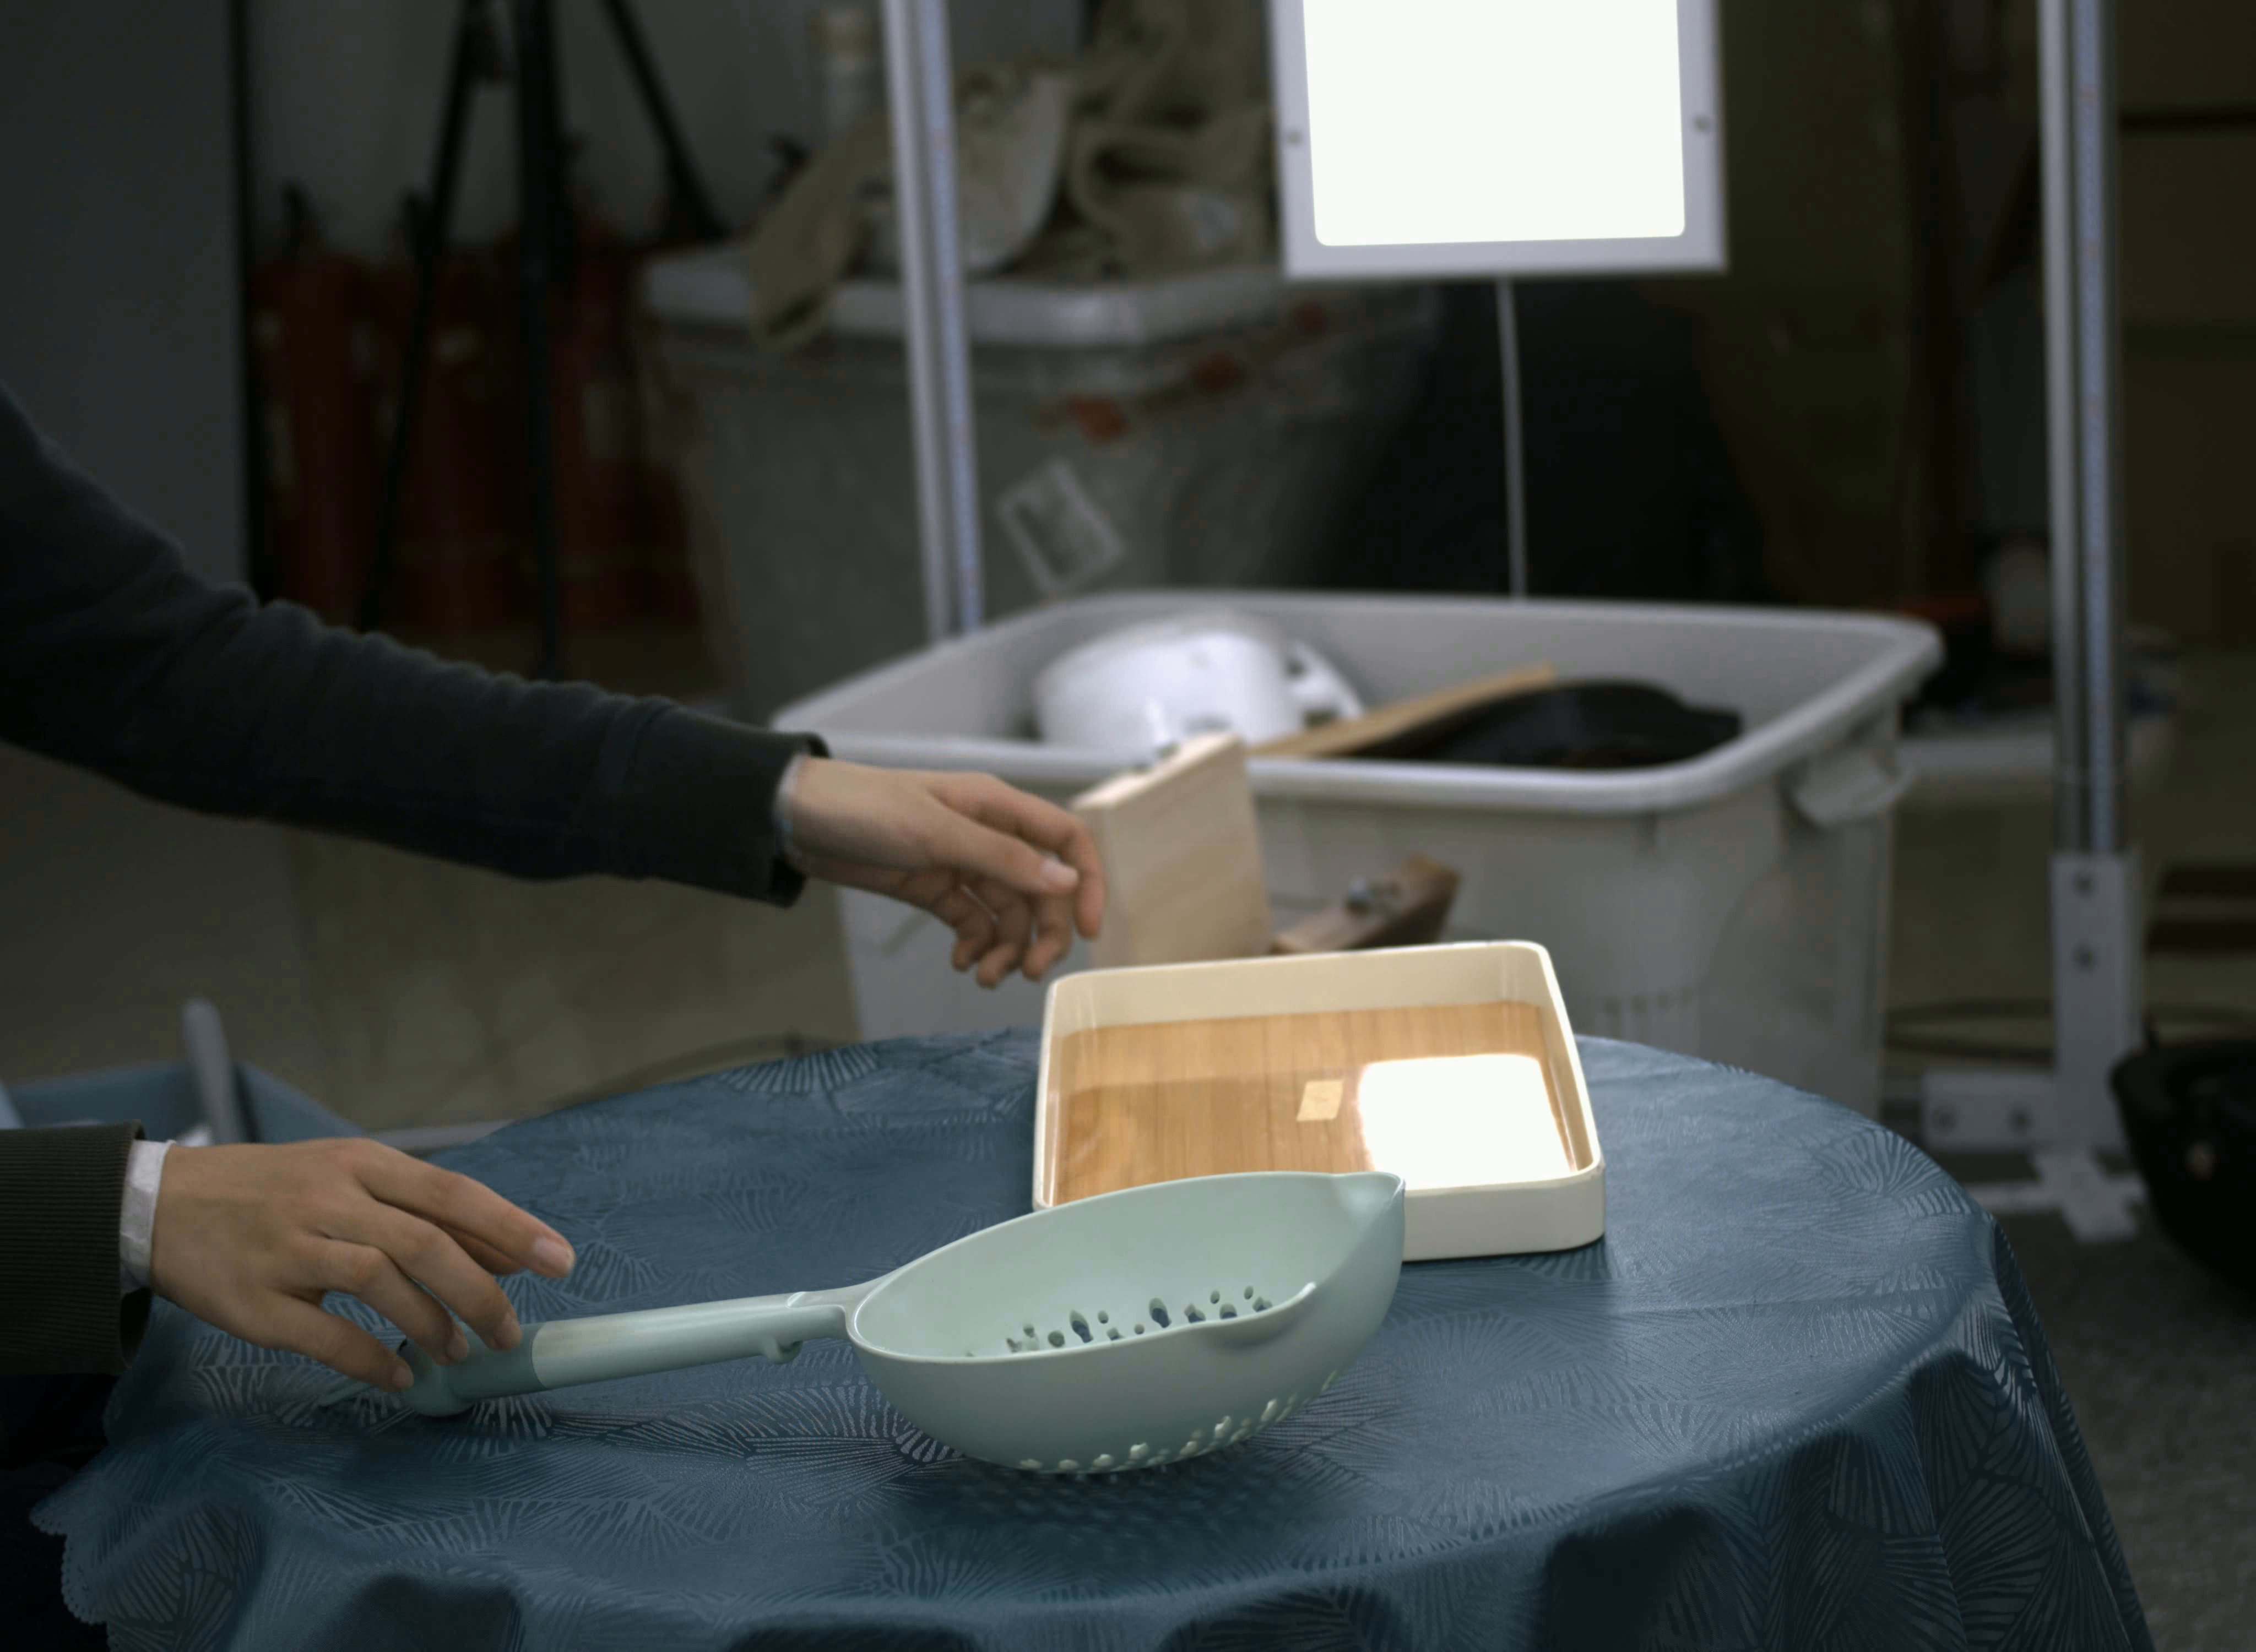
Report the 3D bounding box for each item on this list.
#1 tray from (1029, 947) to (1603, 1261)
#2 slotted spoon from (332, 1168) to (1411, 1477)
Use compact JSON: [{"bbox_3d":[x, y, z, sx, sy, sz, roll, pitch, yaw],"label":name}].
[{"bbox_3d":[0.063,0.098,1.938,0.191,0.027,0.299,-4,13,2],"label":"tray"},{"bbox_3d":[-0.087,0.153,1.681,0.364,0.075,0.166,1,14,22],"label":"slotted spoon"}]
